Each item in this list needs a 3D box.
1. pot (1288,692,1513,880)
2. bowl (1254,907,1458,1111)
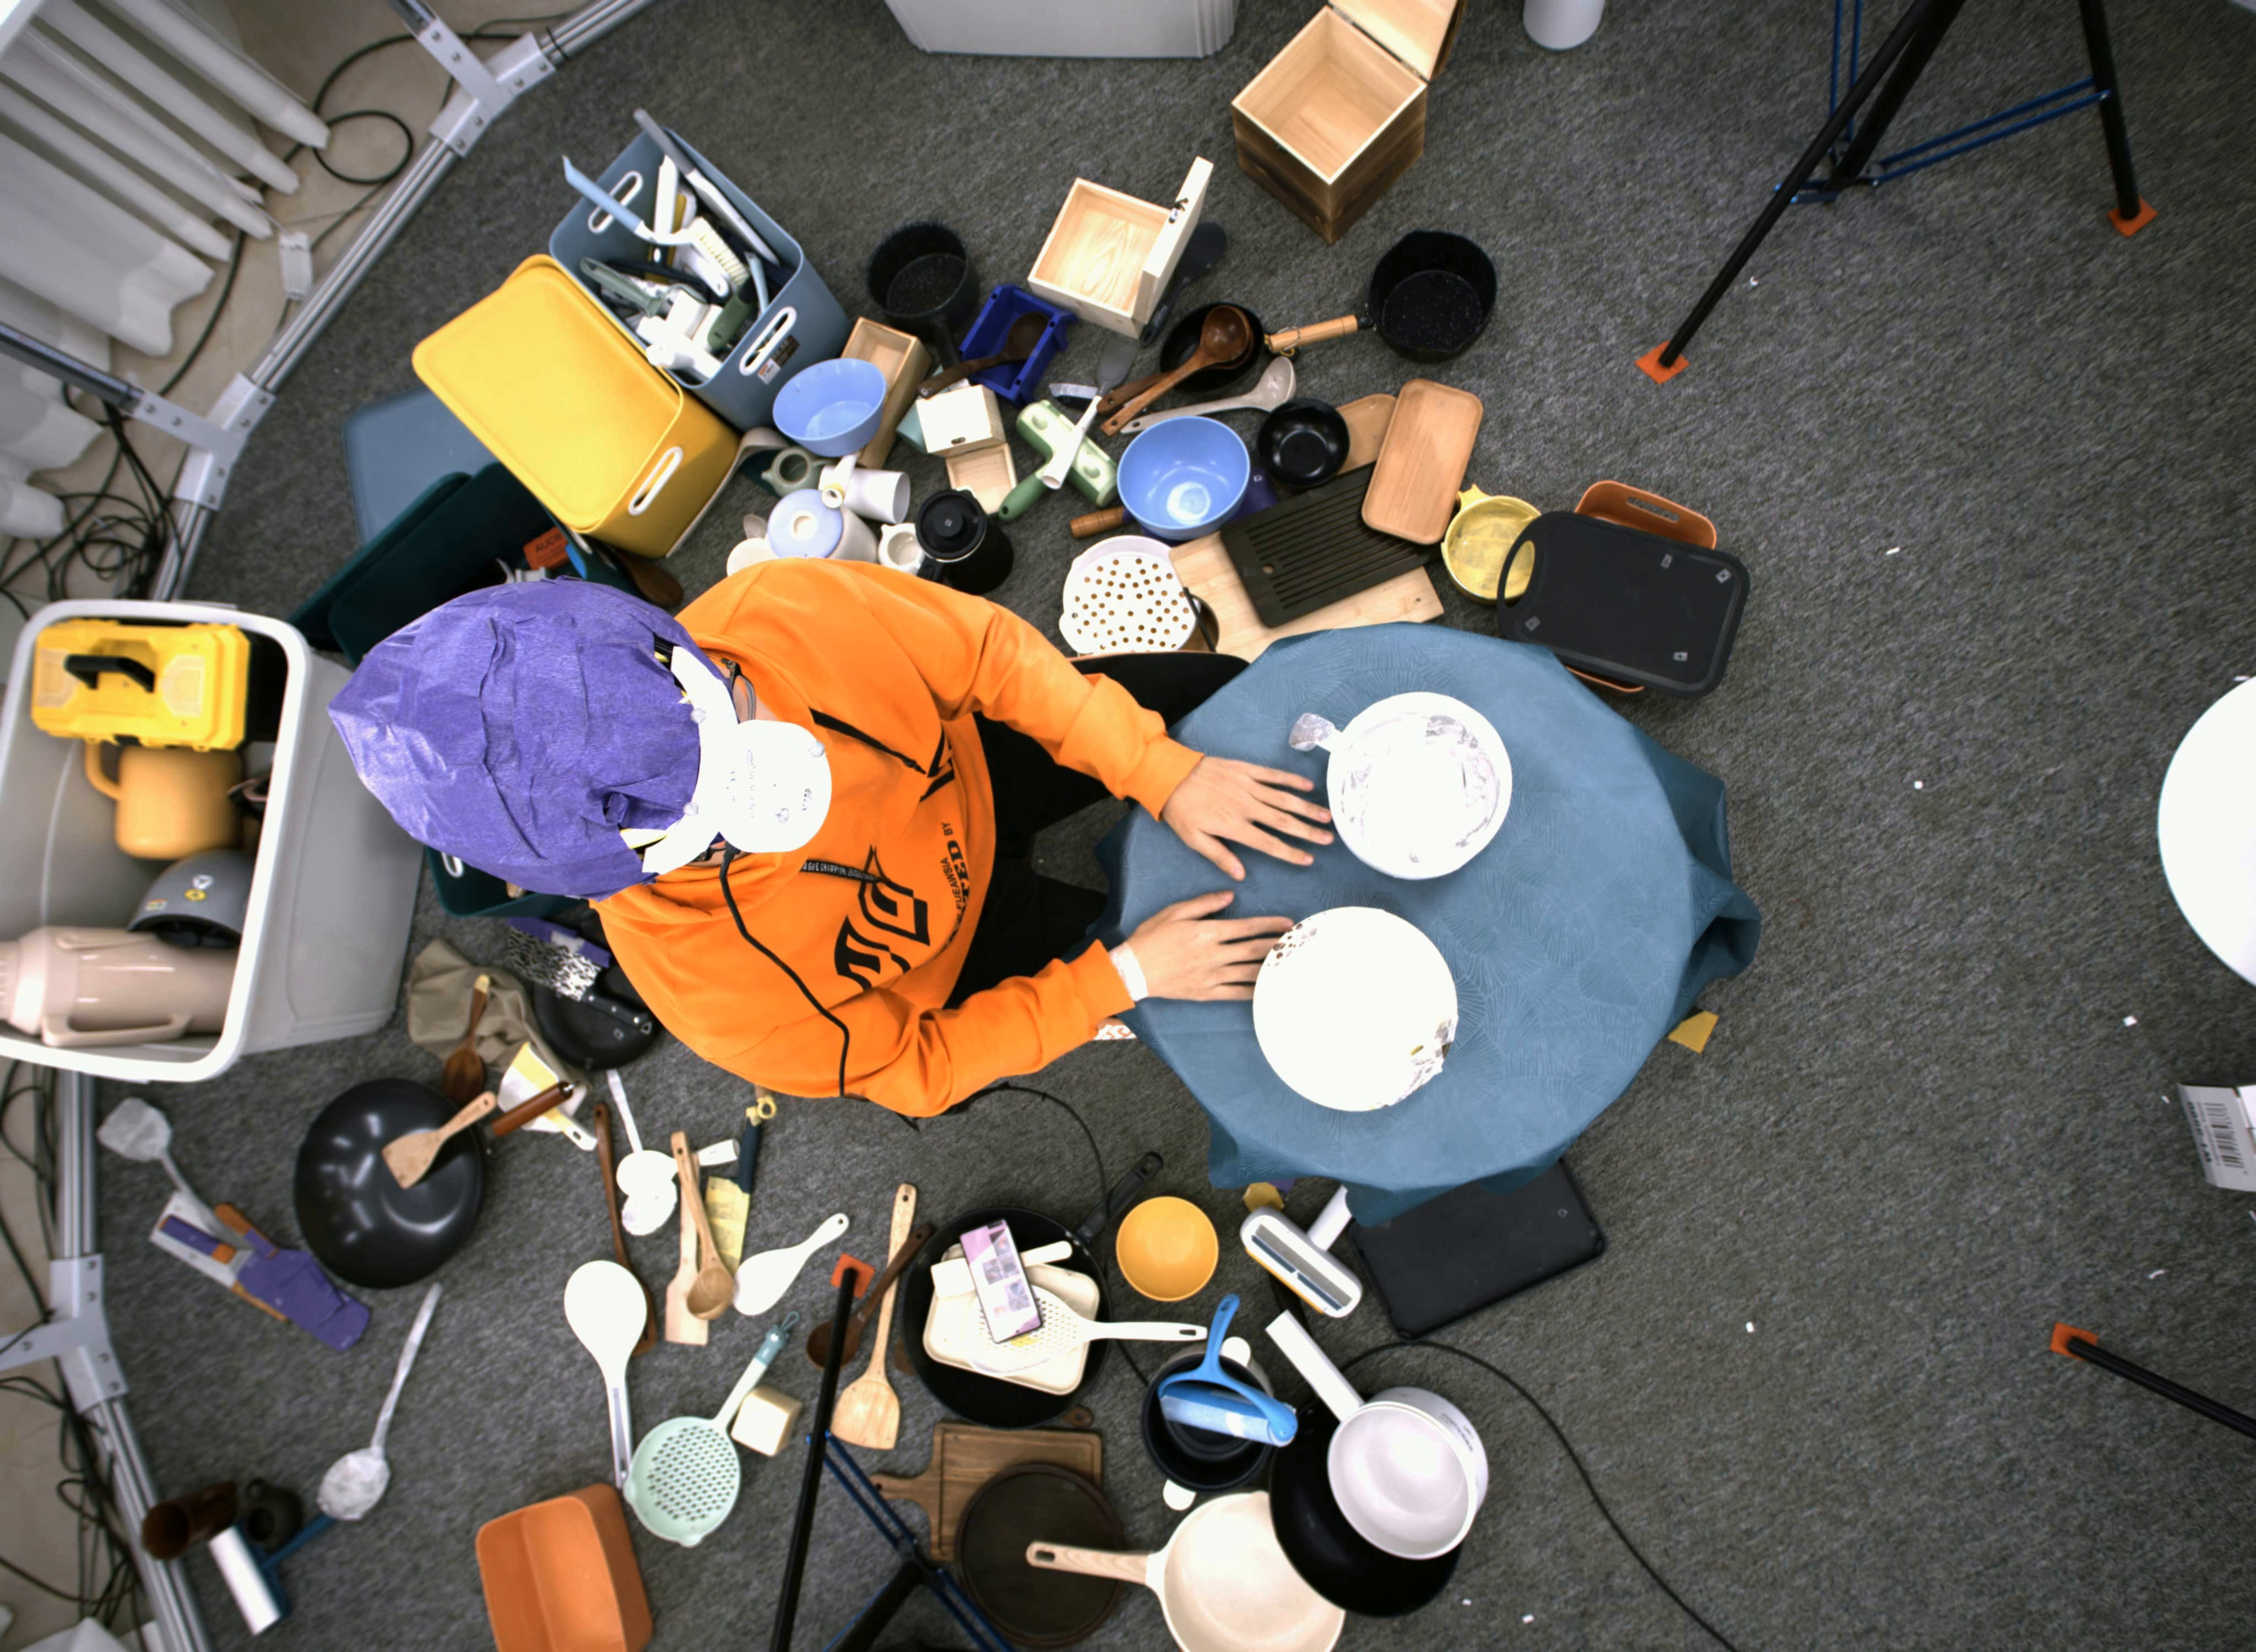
[{"bbox_3d":[0.268,-0.050,1.397,0.233,0.137,0.179,28,91,11],"label":"pot"},{"bbox_3d":[0.235,0.186,1.422,0.205,0.078,0.203,-1,86,12],"label":"bowl"}]
